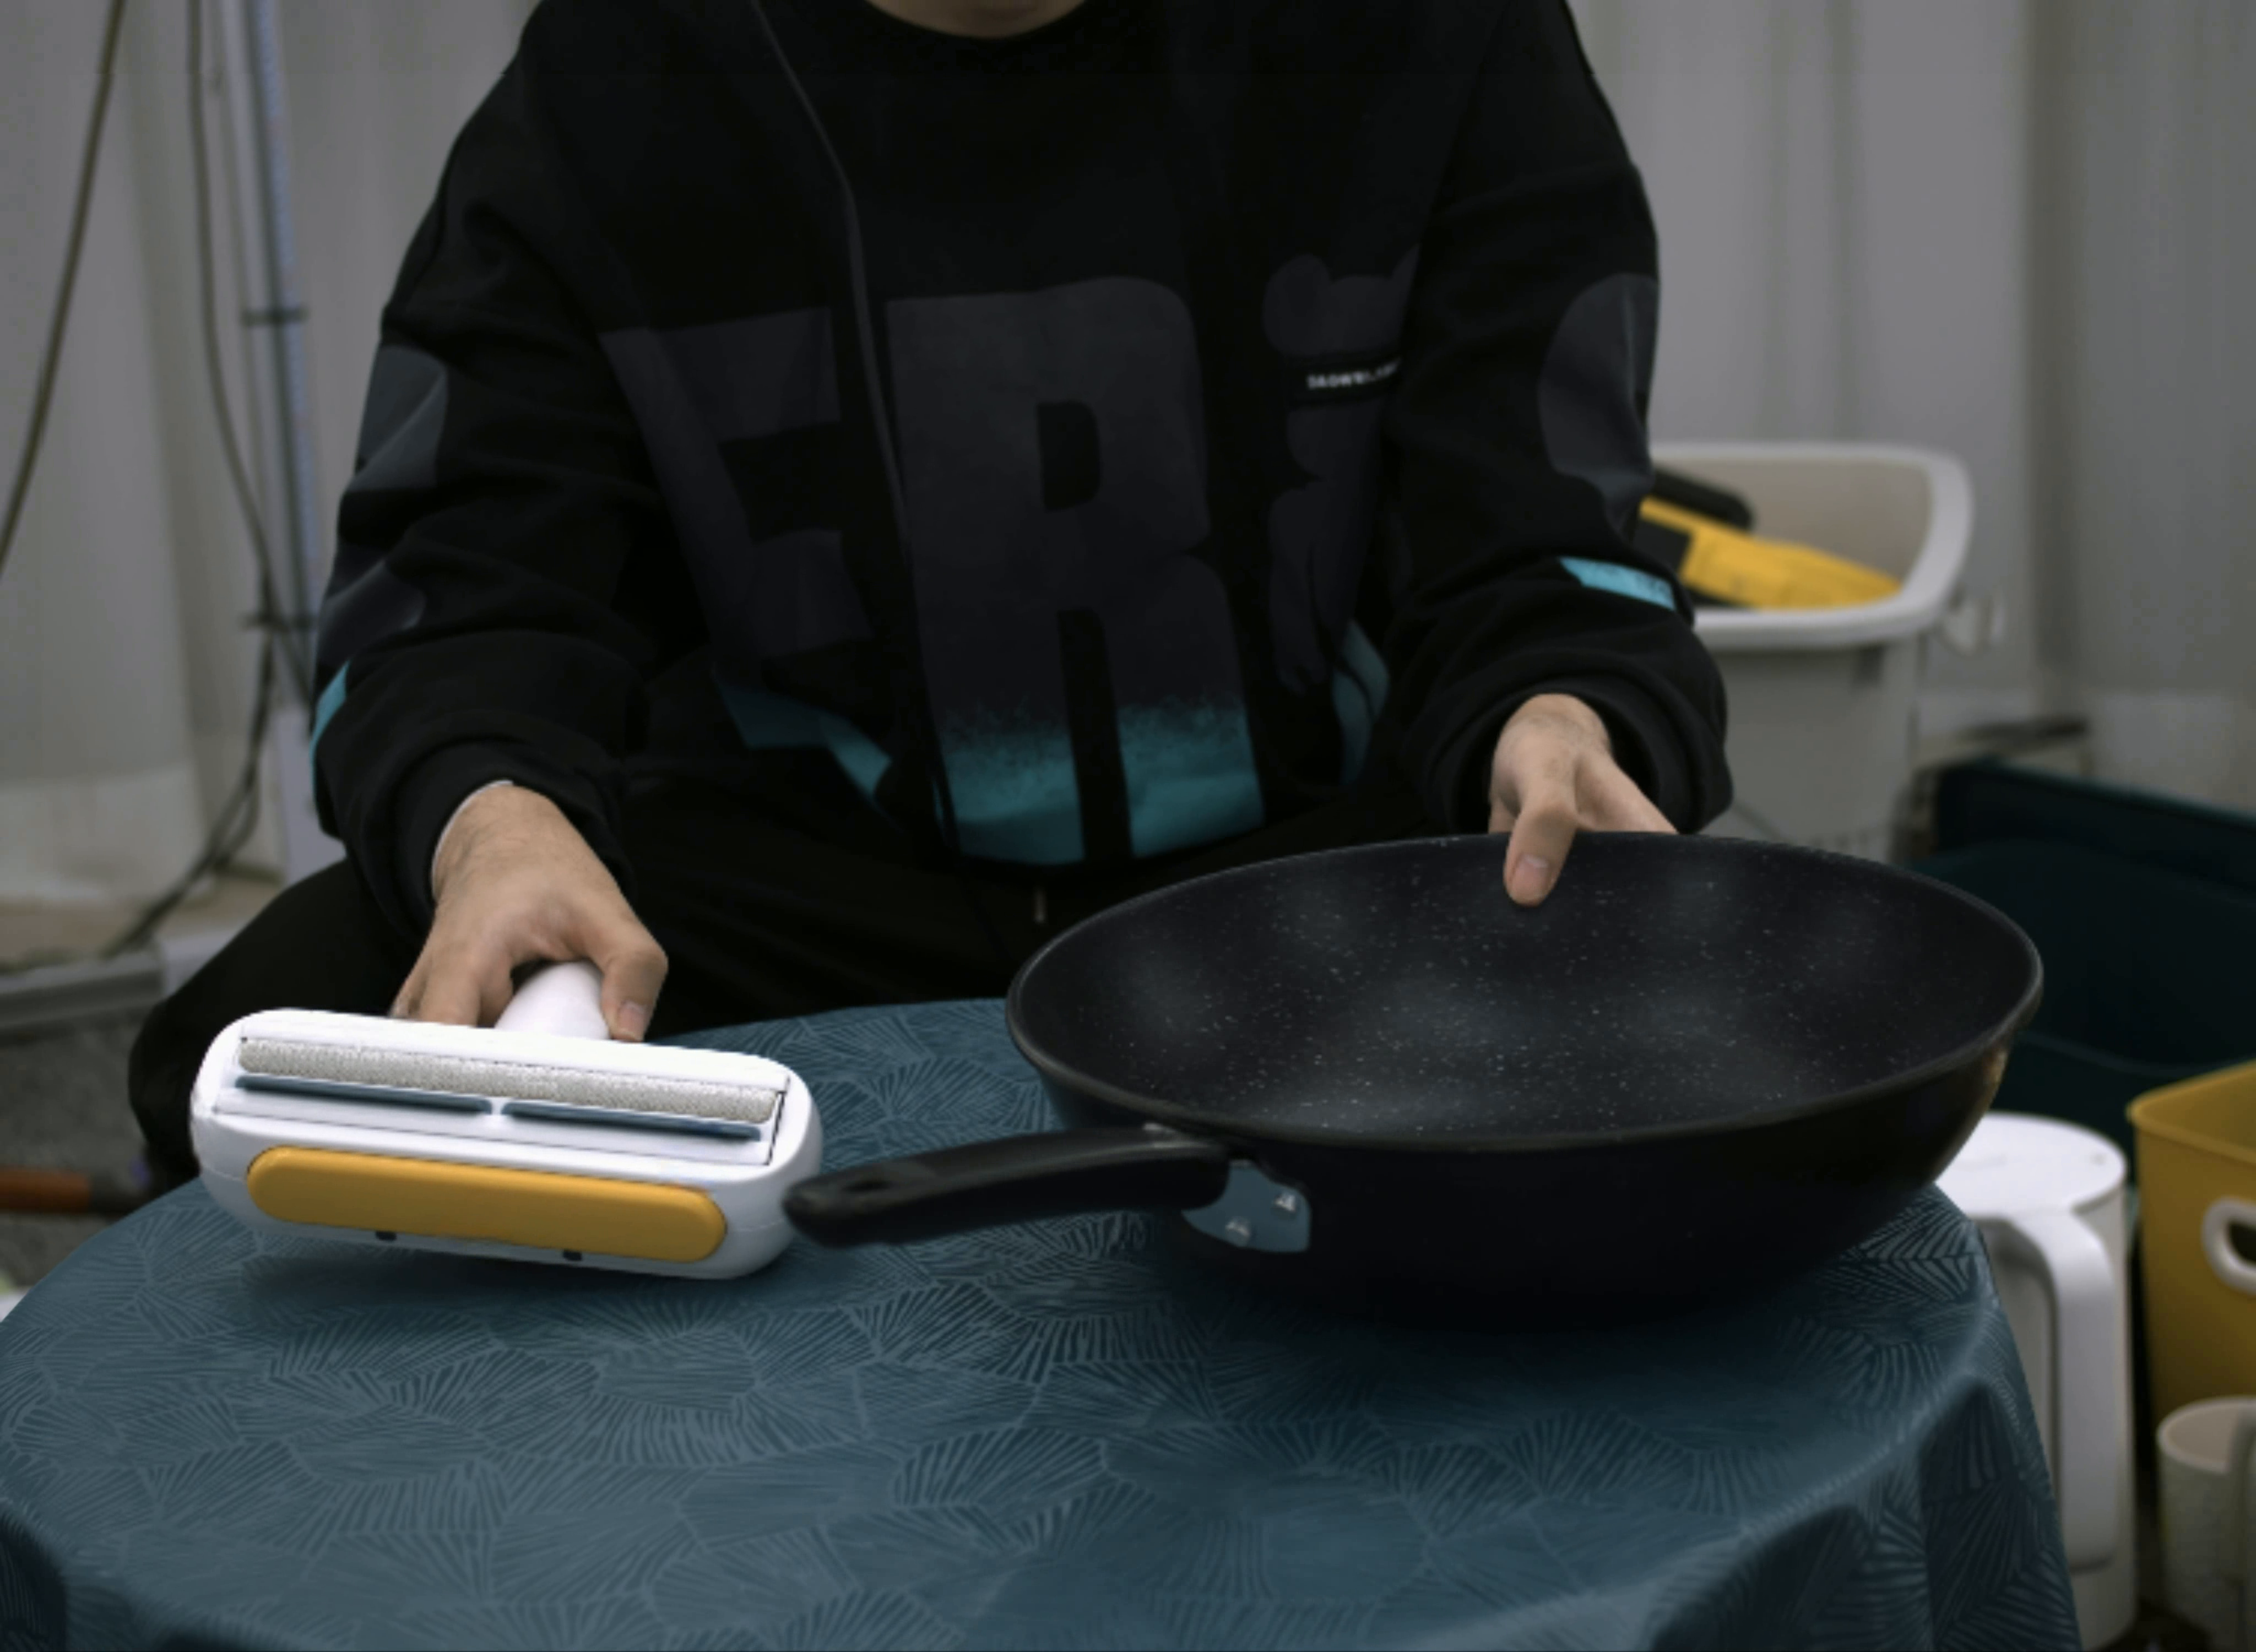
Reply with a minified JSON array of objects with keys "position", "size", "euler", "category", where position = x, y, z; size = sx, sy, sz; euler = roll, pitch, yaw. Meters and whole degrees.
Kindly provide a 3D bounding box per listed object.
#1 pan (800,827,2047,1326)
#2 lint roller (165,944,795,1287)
[{"position":[0.070,0.091,1.579],"size":[0.311,0.111,0.477],"euler":[6,18,37],"category":"pan"},{"position":[-0.188,0.075,1.721],"size":[0.192,0.073,0.194],"euler":[3,29,9],"category":"lint roller"}]
